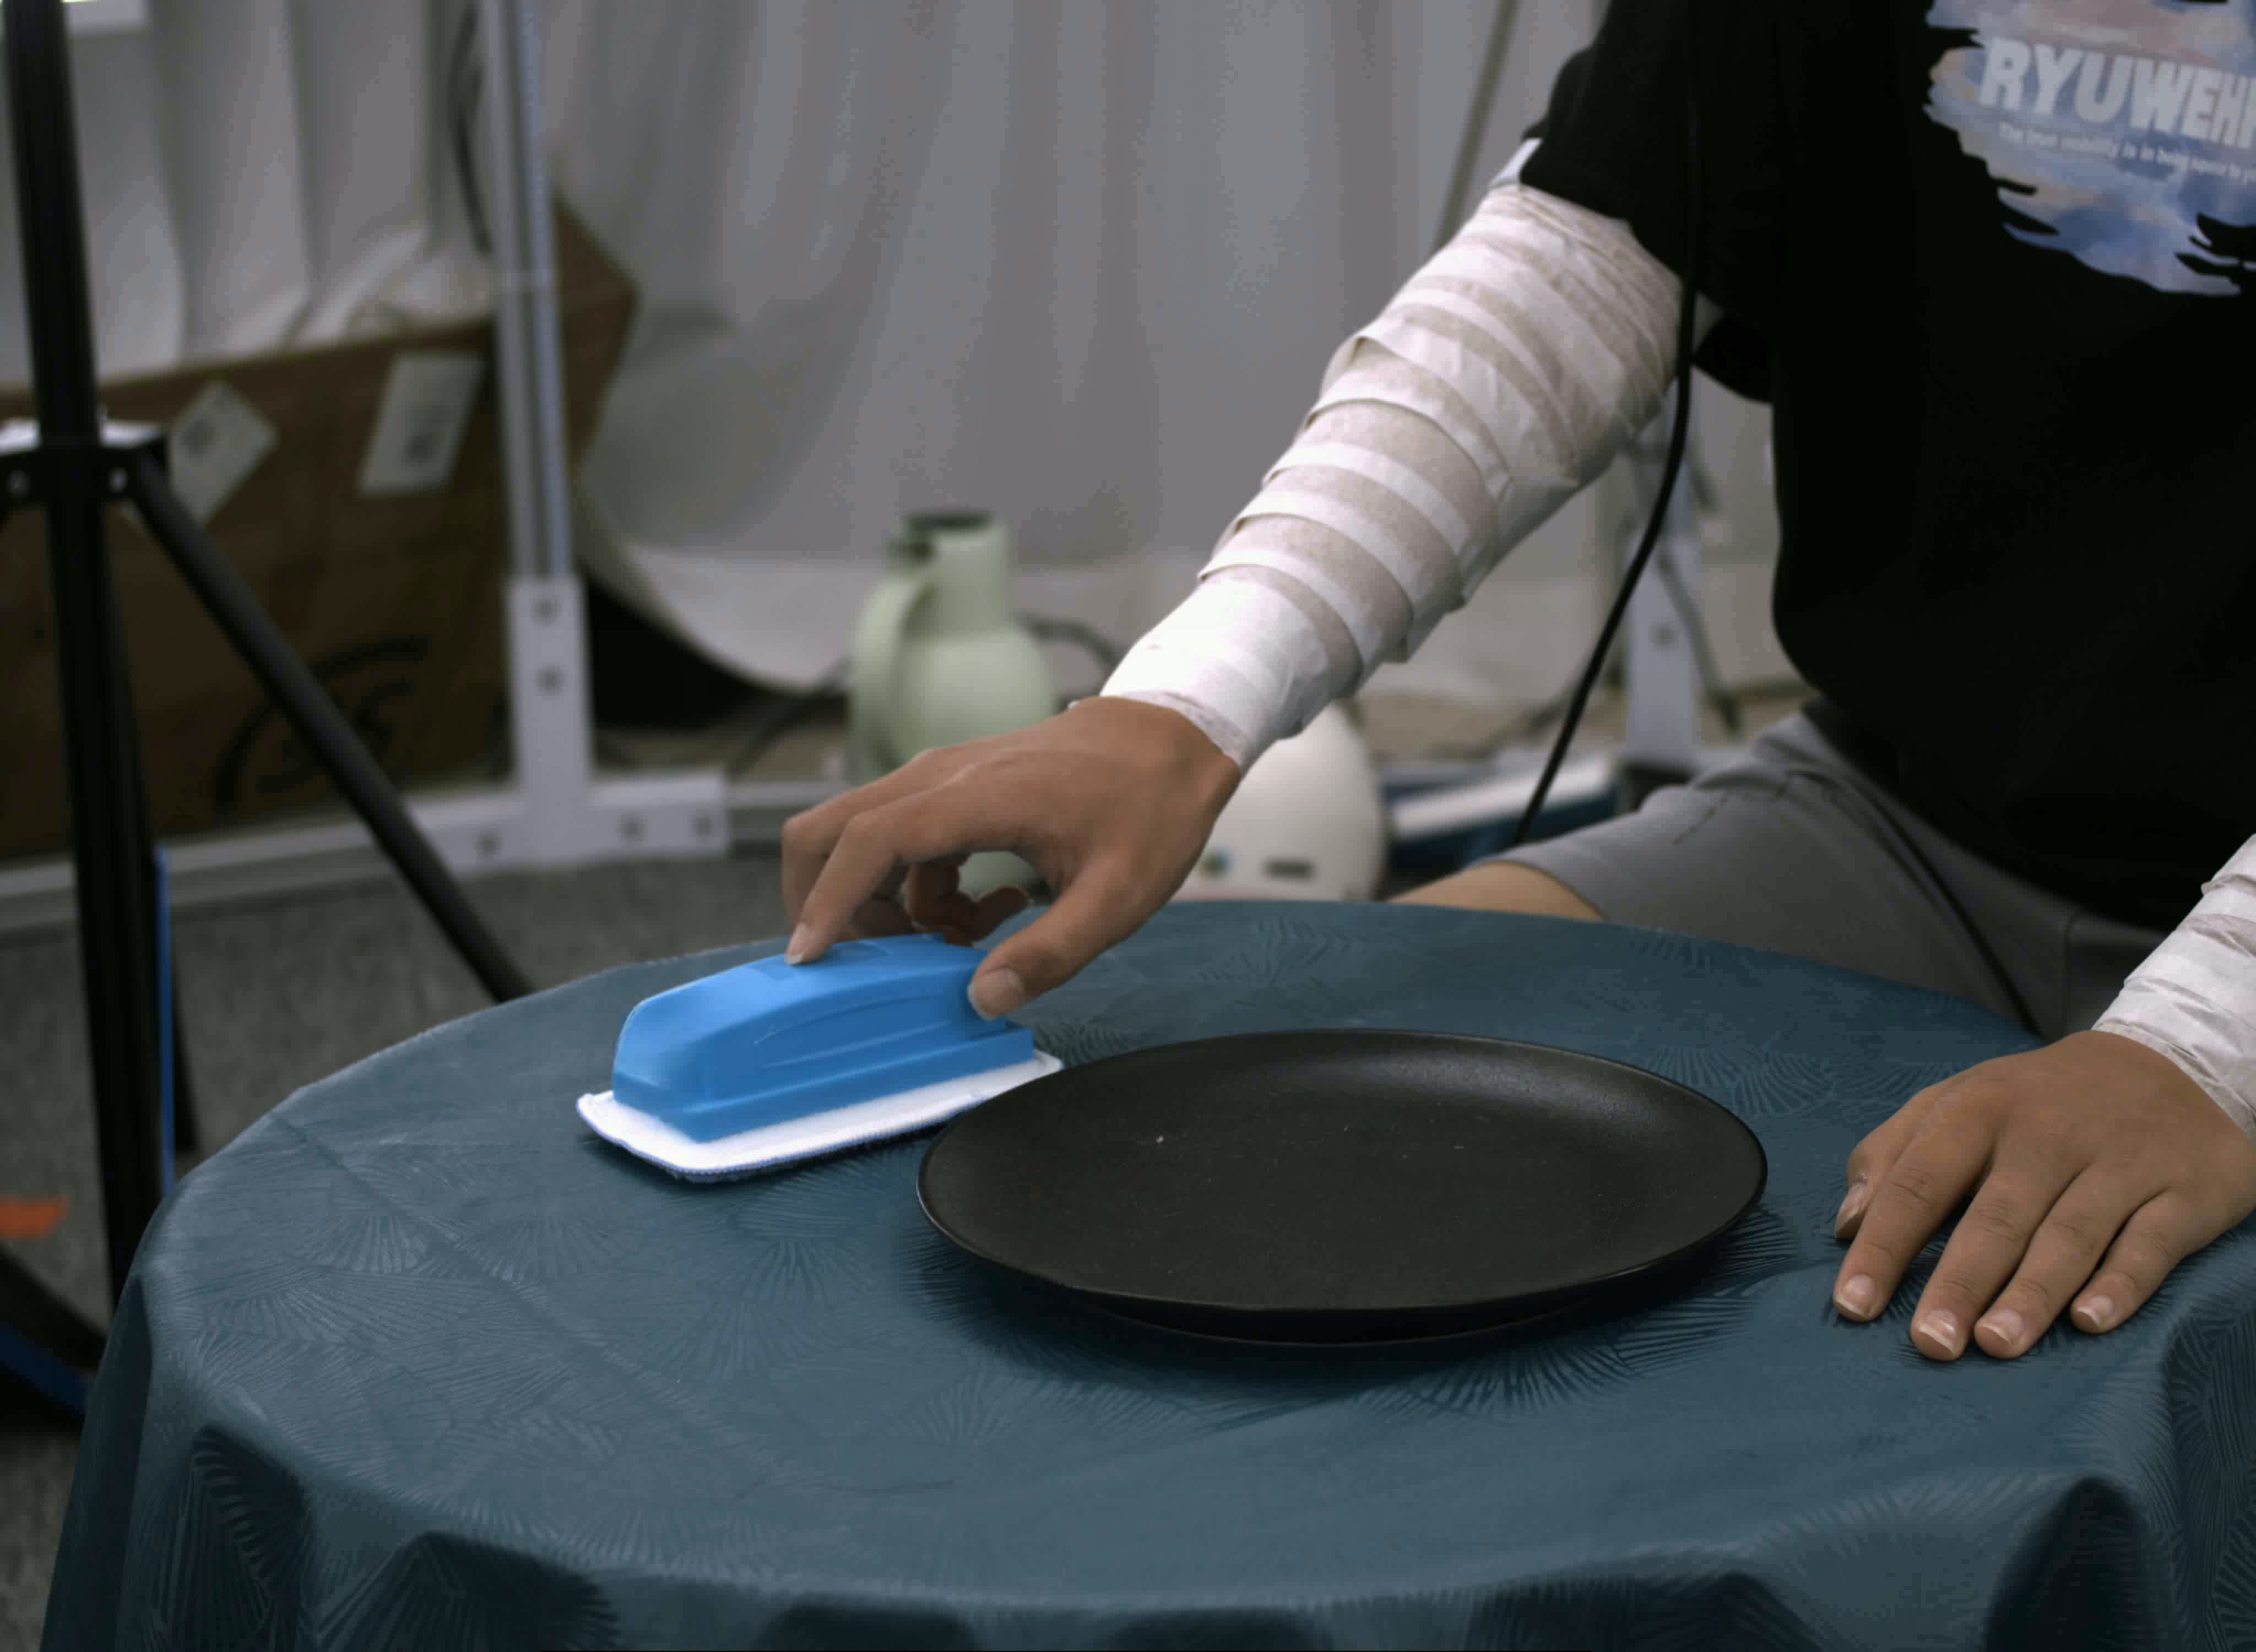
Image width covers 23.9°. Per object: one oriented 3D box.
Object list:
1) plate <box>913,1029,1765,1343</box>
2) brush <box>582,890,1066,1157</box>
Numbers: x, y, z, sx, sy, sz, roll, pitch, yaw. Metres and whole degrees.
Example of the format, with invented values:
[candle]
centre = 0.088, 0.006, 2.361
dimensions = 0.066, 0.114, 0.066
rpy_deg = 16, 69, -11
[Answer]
[plate]
centre = 0.060, 0.105, 1.516
dimensions = 0.243, 0.023, 0.245
rpy_deg = -3, 16, -1
[brush]
centre = -0.093, 0.057, 1.639
dimensions = 0.141, 0.056, 0.086
rpy_deg = -16, 25, -32
